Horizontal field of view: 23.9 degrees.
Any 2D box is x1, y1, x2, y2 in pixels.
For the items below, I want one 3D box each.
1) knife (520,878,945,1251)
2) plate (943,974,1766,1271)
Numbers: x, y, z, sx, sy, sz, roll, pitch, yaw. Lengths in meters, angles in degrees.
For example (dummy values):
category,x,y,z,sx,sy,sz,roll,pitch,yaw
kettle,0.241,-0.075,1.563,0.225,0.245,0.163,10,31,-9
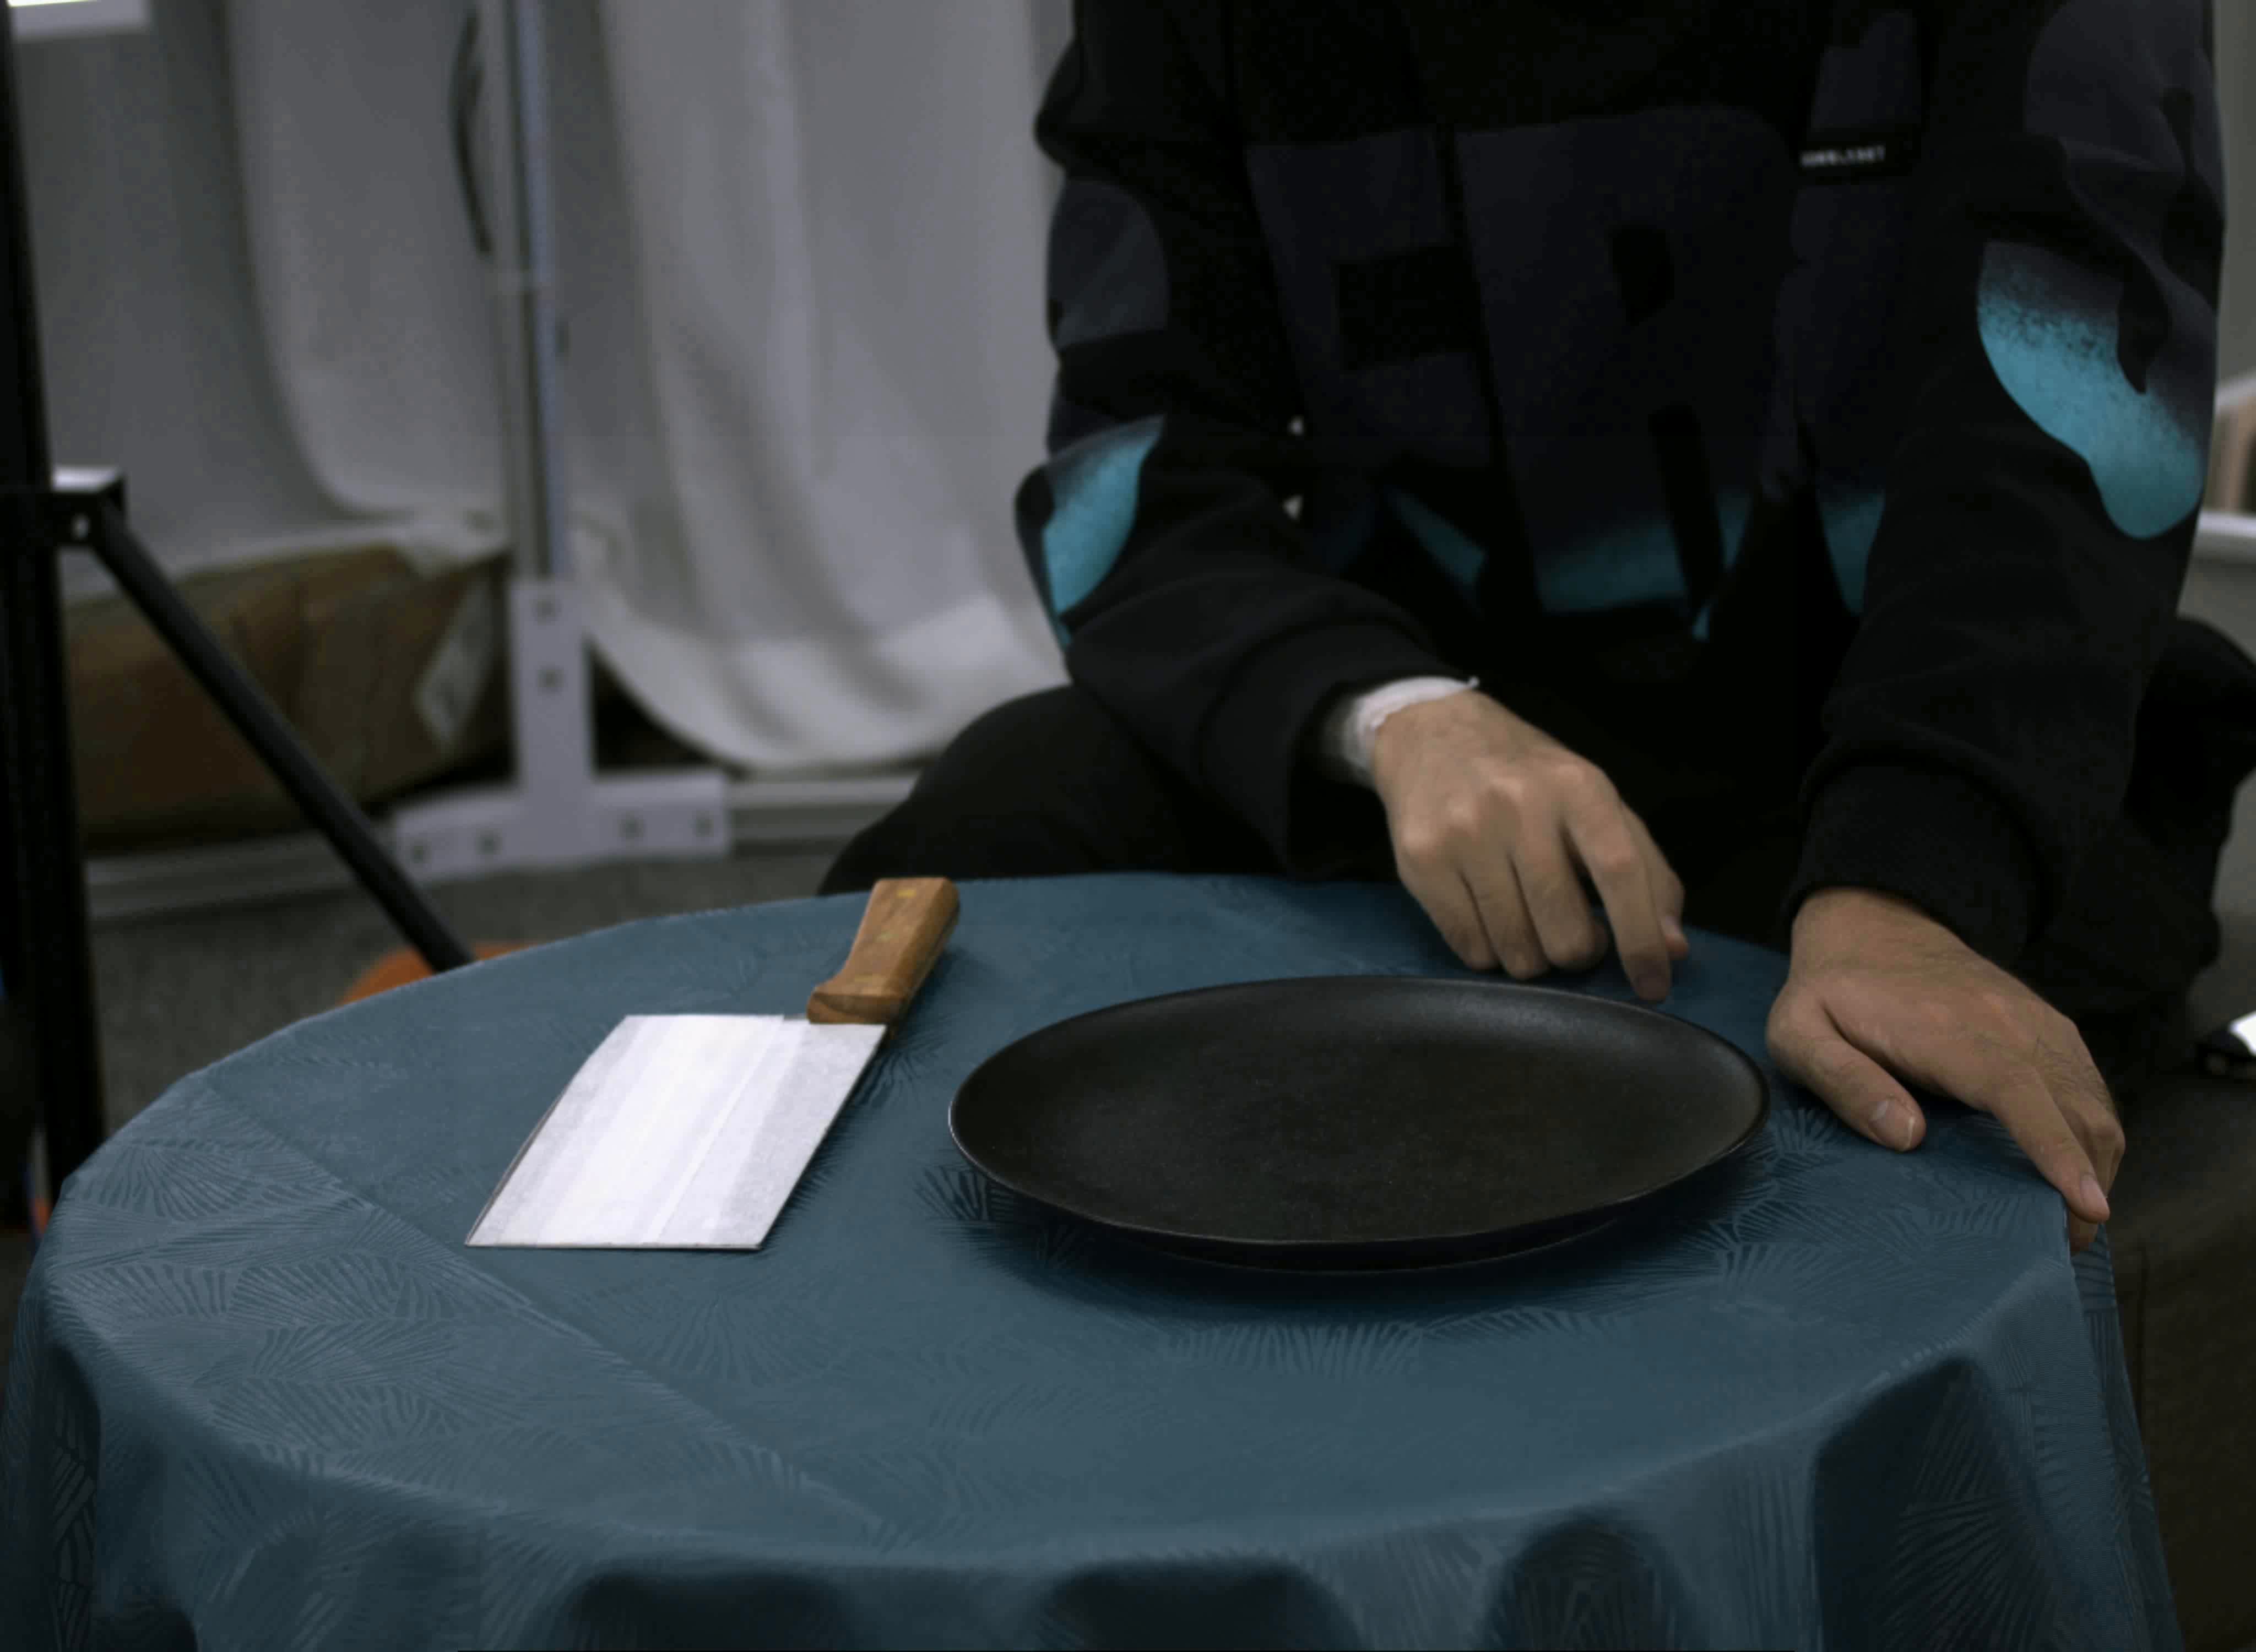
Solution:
category,x,y,z,sx,sy,sz,roll,pitch,yaw
knife,-0.123,0.073,1.674,0.093,0.021,0.305,-1,18,10
plate,0.067,0.090,1.566,0.243,0.023,0.245,-3,16,-1
